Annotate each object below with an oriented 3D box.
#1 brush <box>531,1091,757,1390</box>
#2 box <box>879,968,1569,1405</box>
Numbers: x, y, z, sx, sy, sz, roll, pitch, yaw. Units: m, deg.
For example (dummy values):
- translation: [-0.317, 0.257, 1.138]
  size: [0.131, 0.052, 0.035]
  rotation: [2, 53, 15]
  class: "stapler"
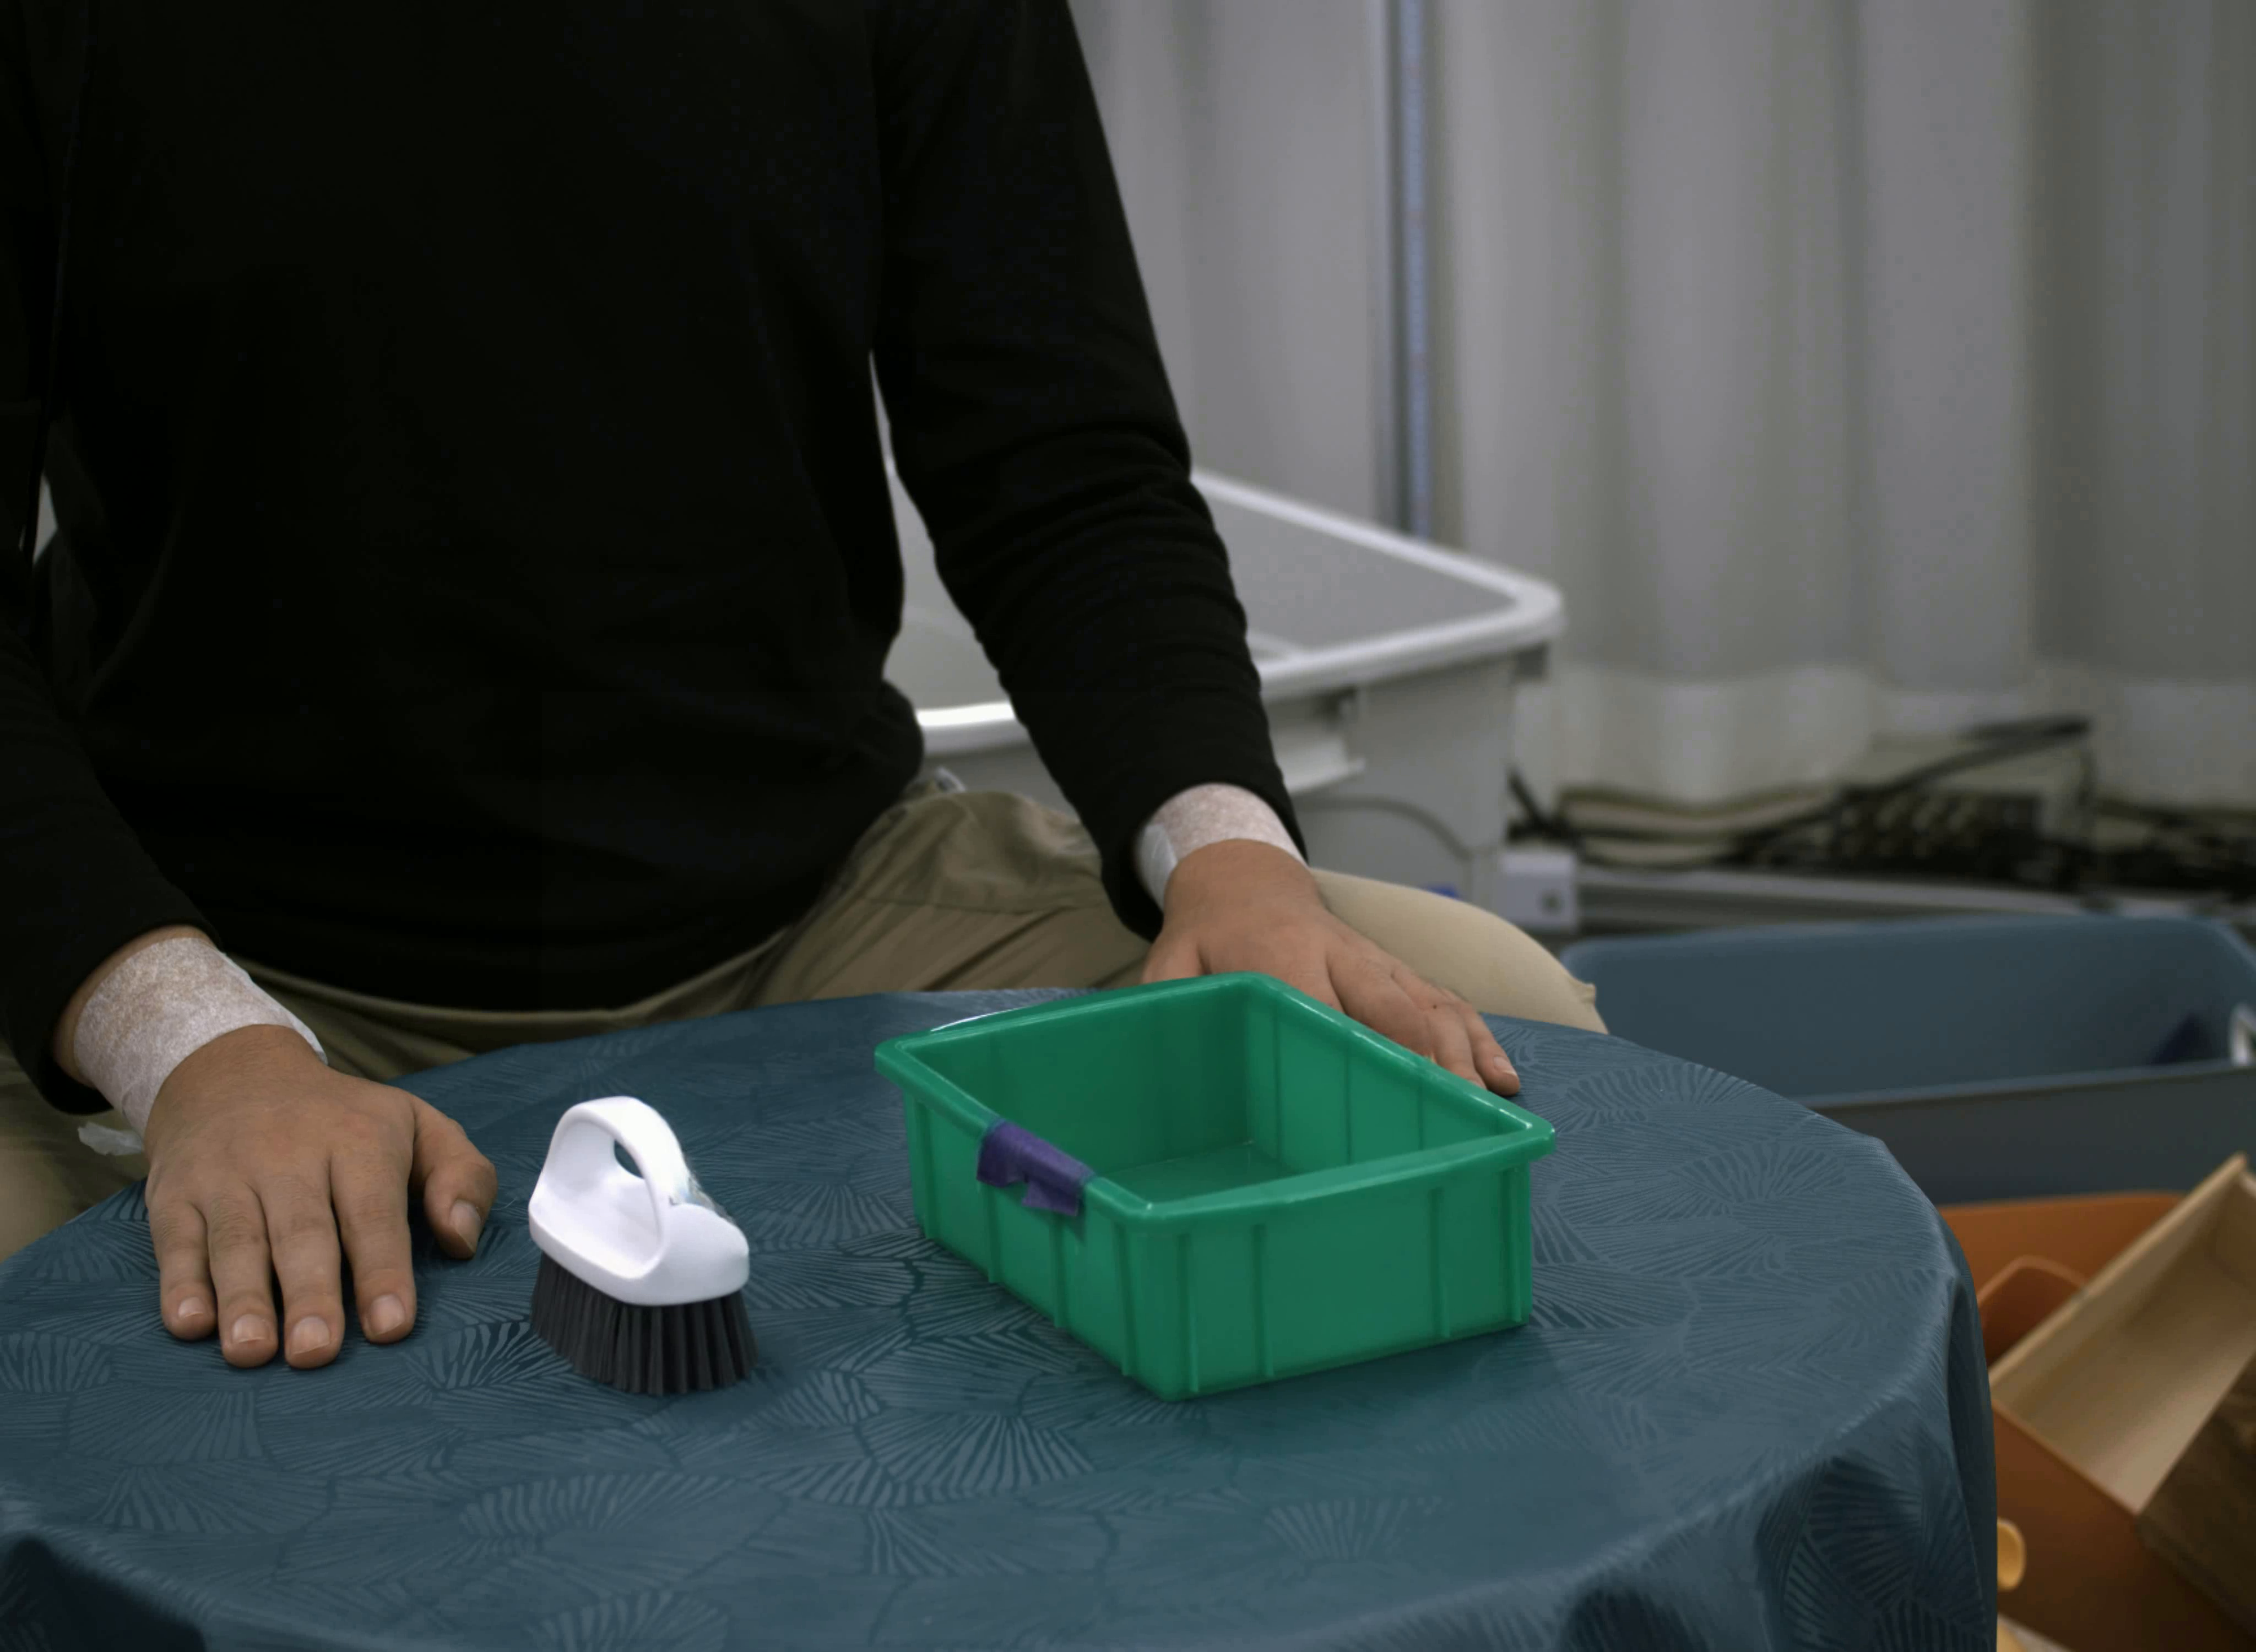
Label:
- translation: [-0.144, 0.116, 1.595]
  size: [0.050, 0.072, 0.100]
  rotation: [-9, 16, -23]
  class: "brush"
- translation: [0.027, 0.106, 1.623]
  size: [0.138, 0.065, 0.212]
  rotation: [-12, 18, -25]
  class: "box"
